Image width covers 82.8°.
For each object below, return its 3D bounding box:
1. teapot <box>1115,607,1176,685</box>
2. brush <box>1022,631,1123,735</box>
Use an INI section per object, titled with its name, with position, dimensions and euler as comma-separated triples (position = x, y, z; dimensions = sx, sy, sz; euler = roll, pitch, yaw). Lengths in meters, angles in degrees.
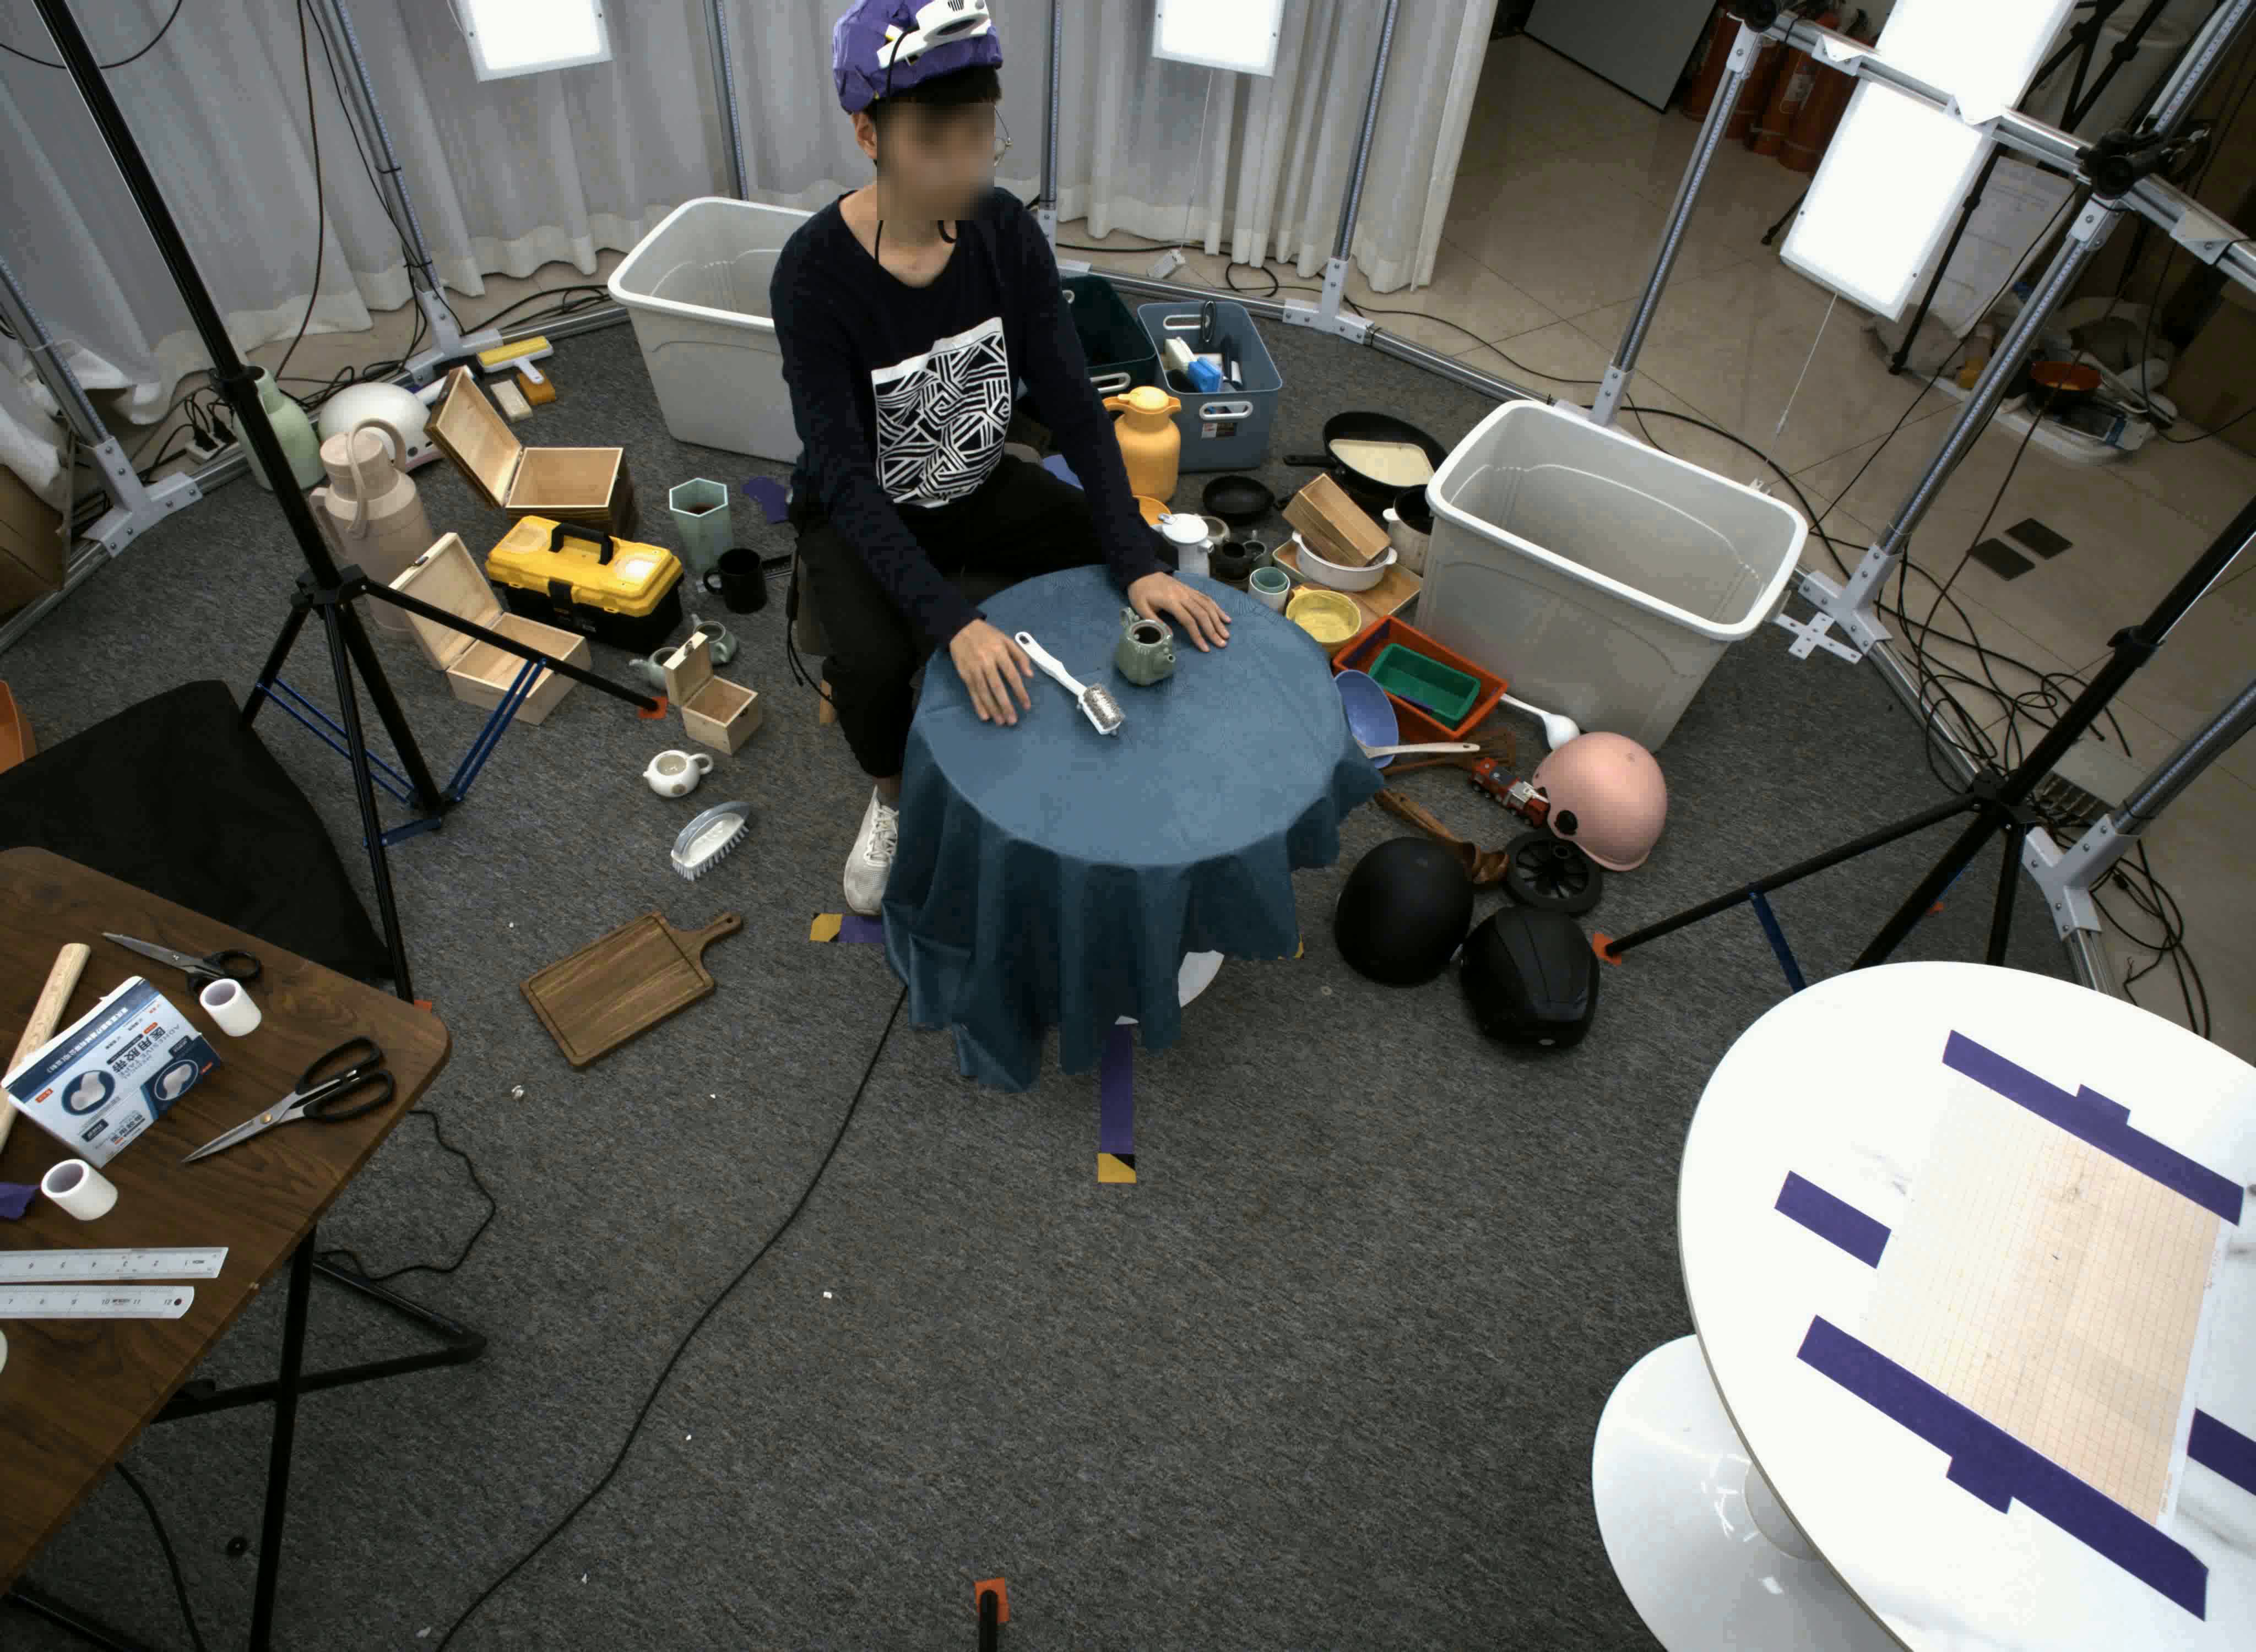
[teapot]
position = 0.026, -0.253, 1.842
dimensions = 0.080, 0.073, 0.135
euler = -24, 54, -23
[brush]
position = -0.084, -0.217, 1.820
dimensions = 0.034, 0.049, 0.248
euler = -27, 56, -19
